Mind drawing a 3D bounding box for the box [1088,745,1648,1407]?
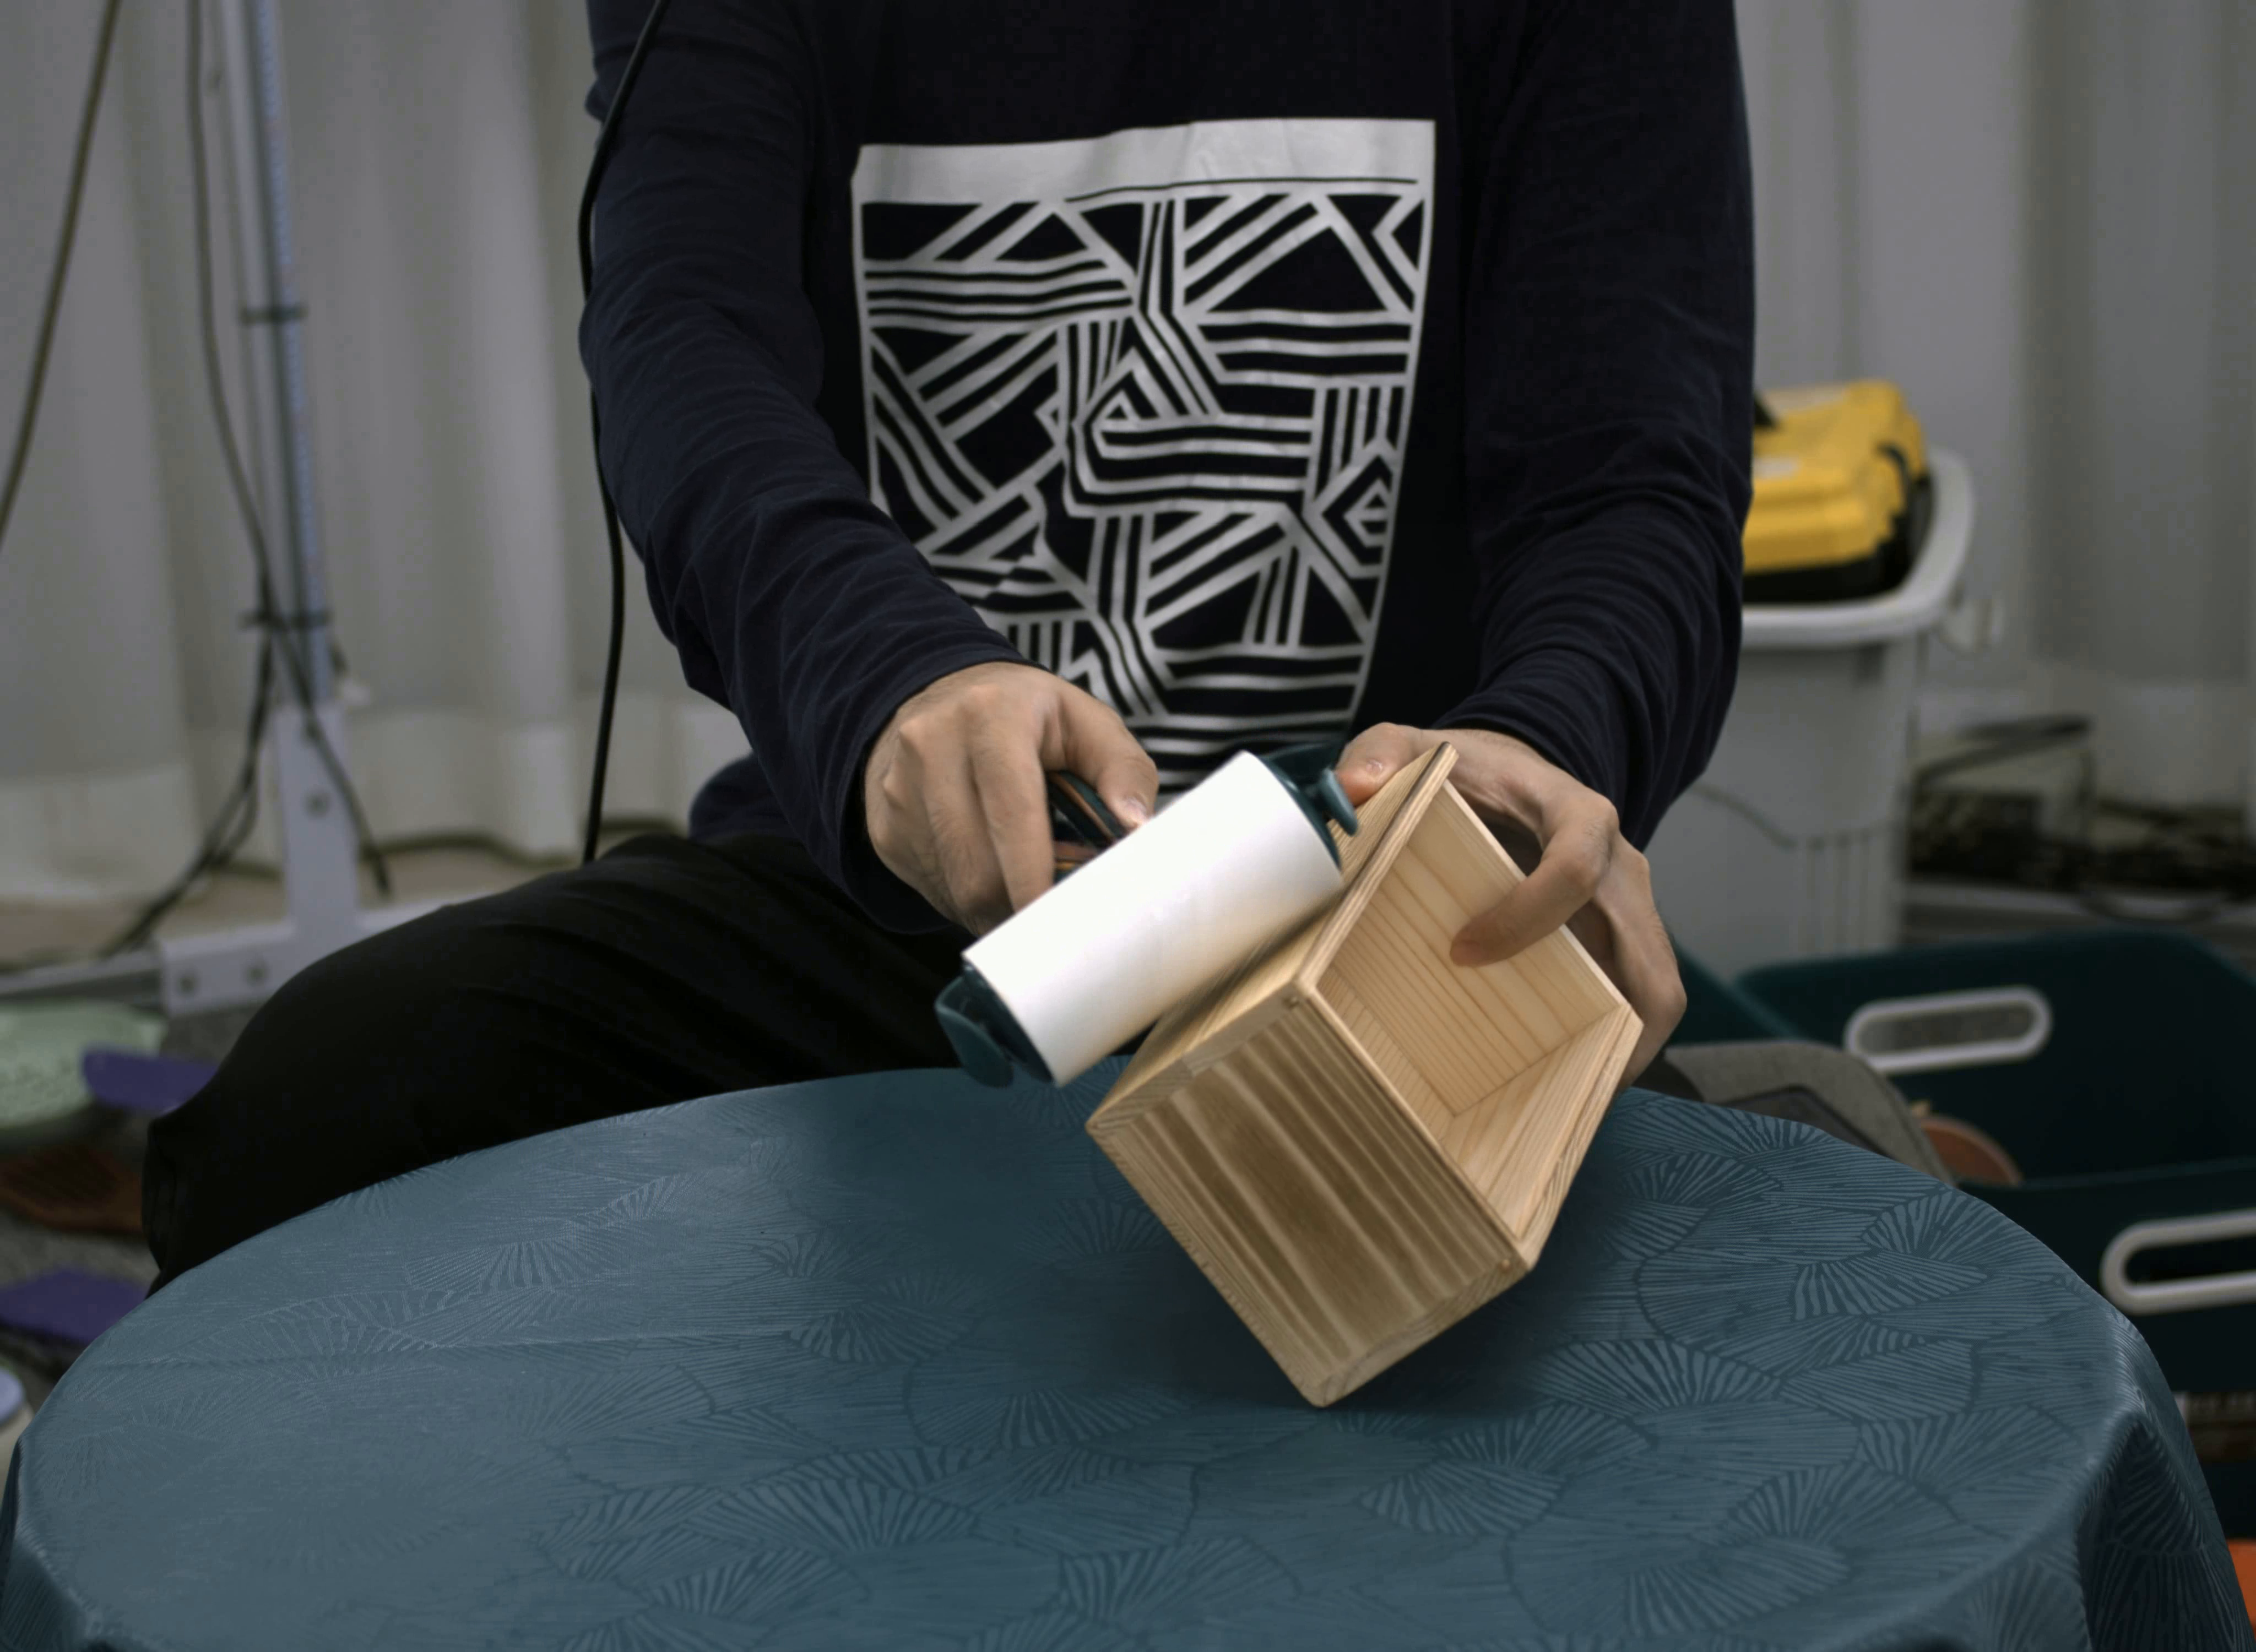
[{"bbox_3d":[0.074,0.069,1.600,0.080,0.107,0.212,-37,6,22],"label":"box"}]

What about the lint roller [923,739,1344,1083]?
[{"bbox_3d":[-0.019,0.005,1.598,0.134,0.048,0.182,-36,25,-7],"label":"lint roller"}]
